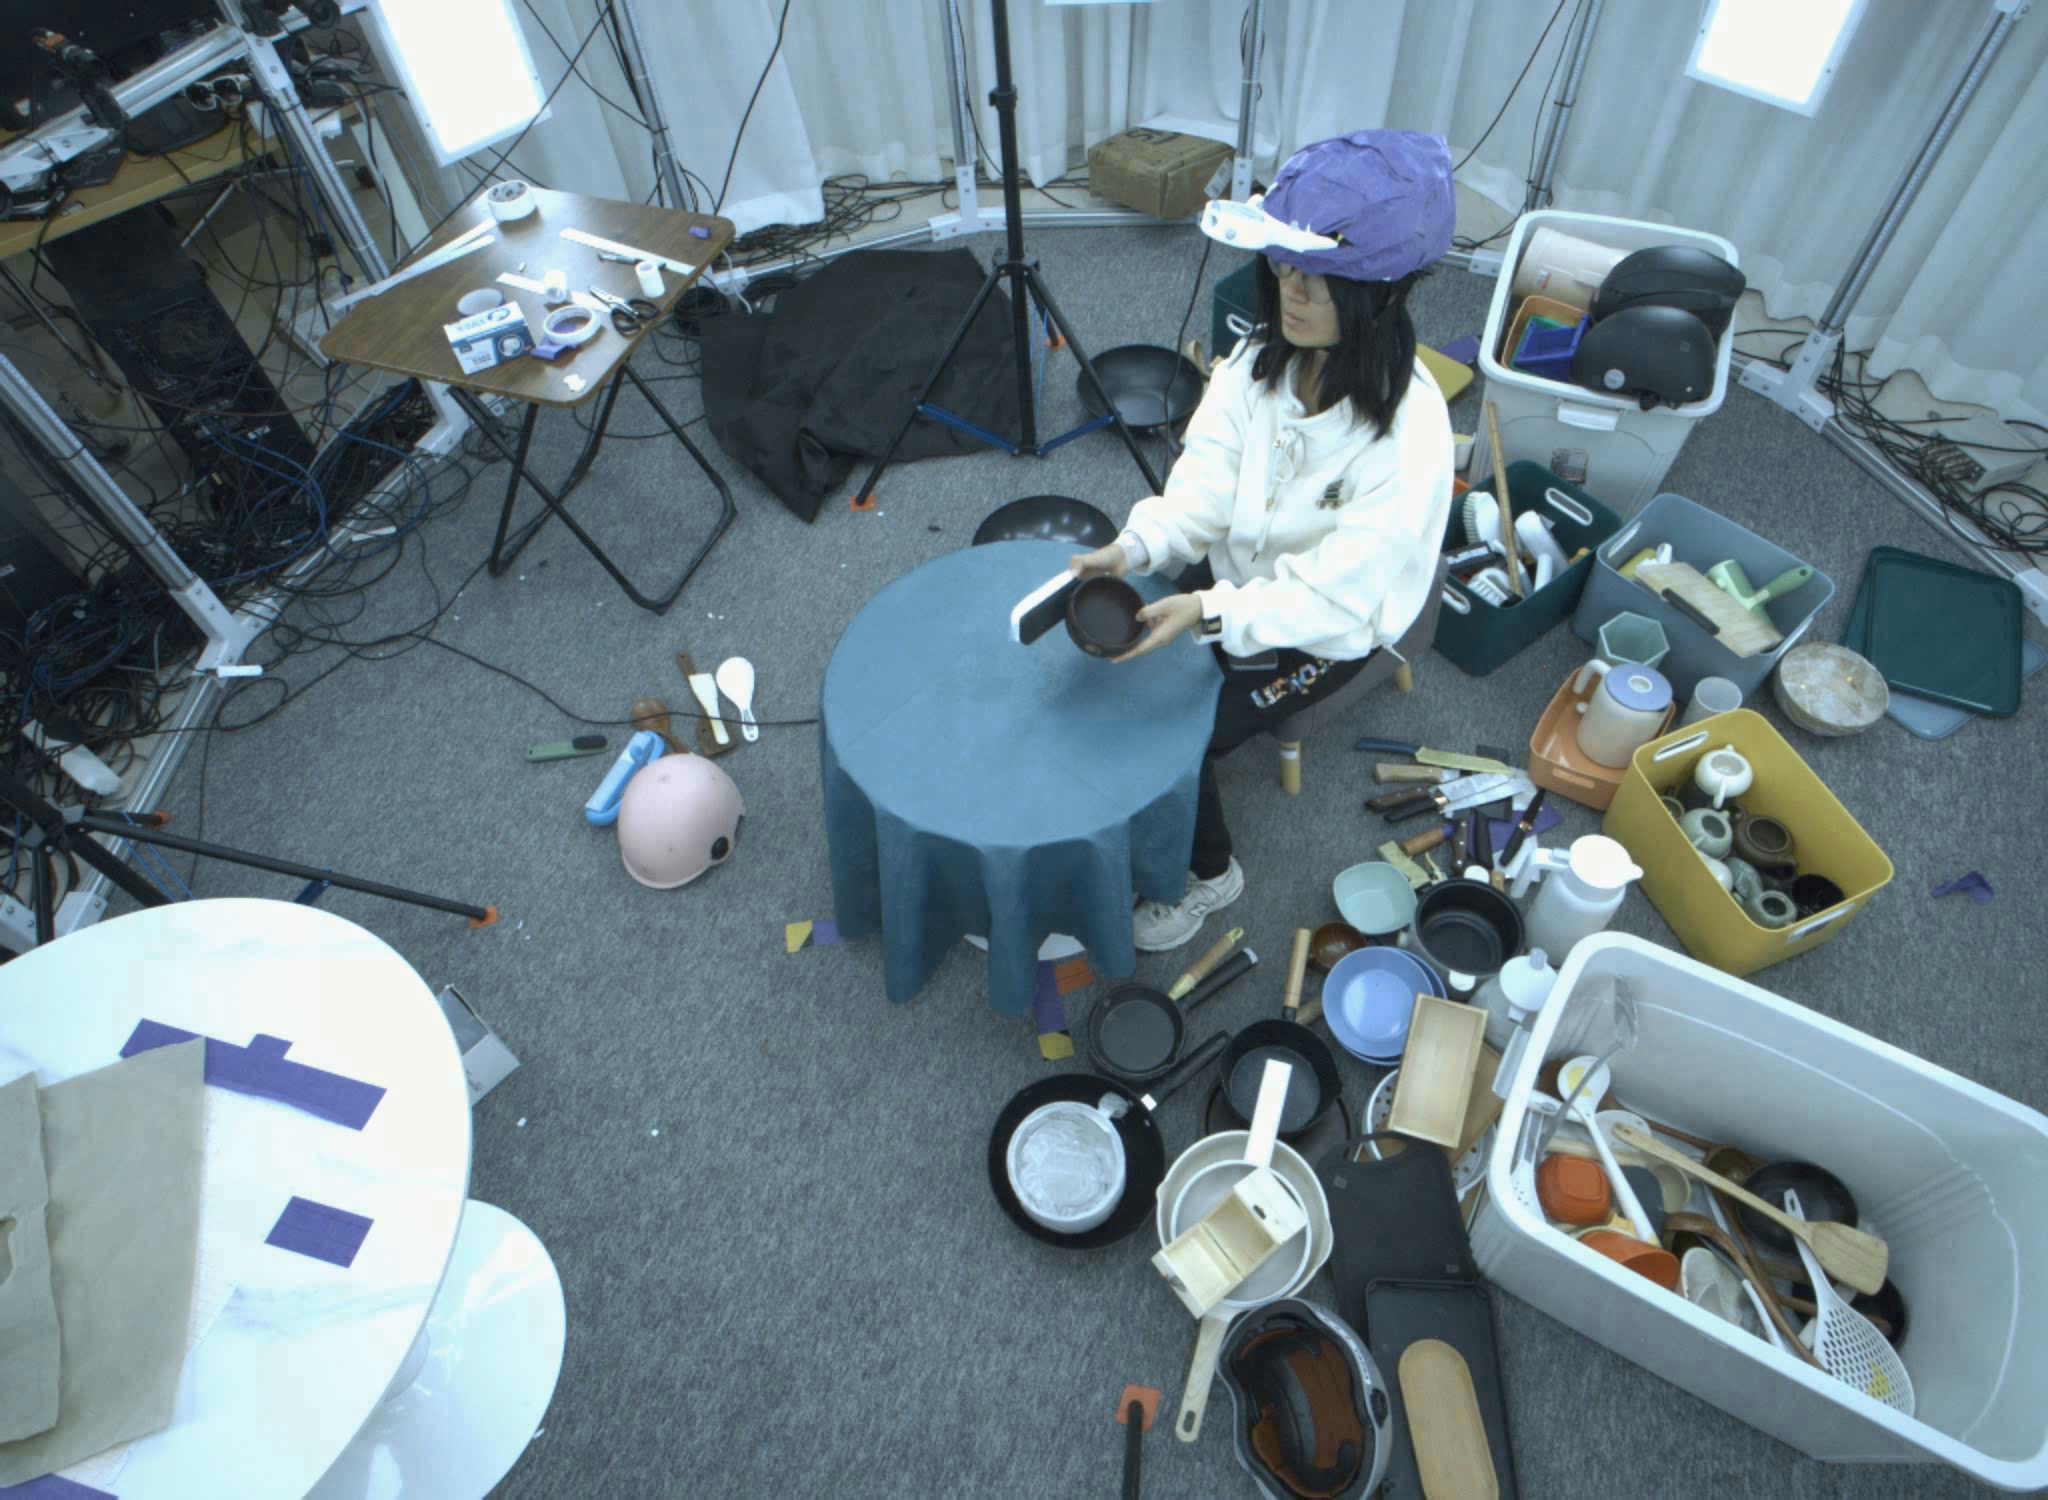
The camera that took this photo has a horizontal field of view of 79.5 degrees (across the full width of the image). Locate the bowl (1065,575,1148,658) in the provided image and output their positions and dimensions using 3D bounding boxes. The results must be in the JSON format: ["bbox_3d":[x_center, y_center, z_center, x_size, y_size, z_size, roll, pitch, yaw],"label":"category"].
[{"bbox_3d":[0.113,-0.185,1.765,0.119,0.069,0.117,6,71,-17],"label":"bowl"}]

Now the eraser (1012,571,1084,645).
[{"bbox_3d":[0.032,-0.206,1.762,0.034,0.064,0.132,36,59,25],"label":"eraser"}]
